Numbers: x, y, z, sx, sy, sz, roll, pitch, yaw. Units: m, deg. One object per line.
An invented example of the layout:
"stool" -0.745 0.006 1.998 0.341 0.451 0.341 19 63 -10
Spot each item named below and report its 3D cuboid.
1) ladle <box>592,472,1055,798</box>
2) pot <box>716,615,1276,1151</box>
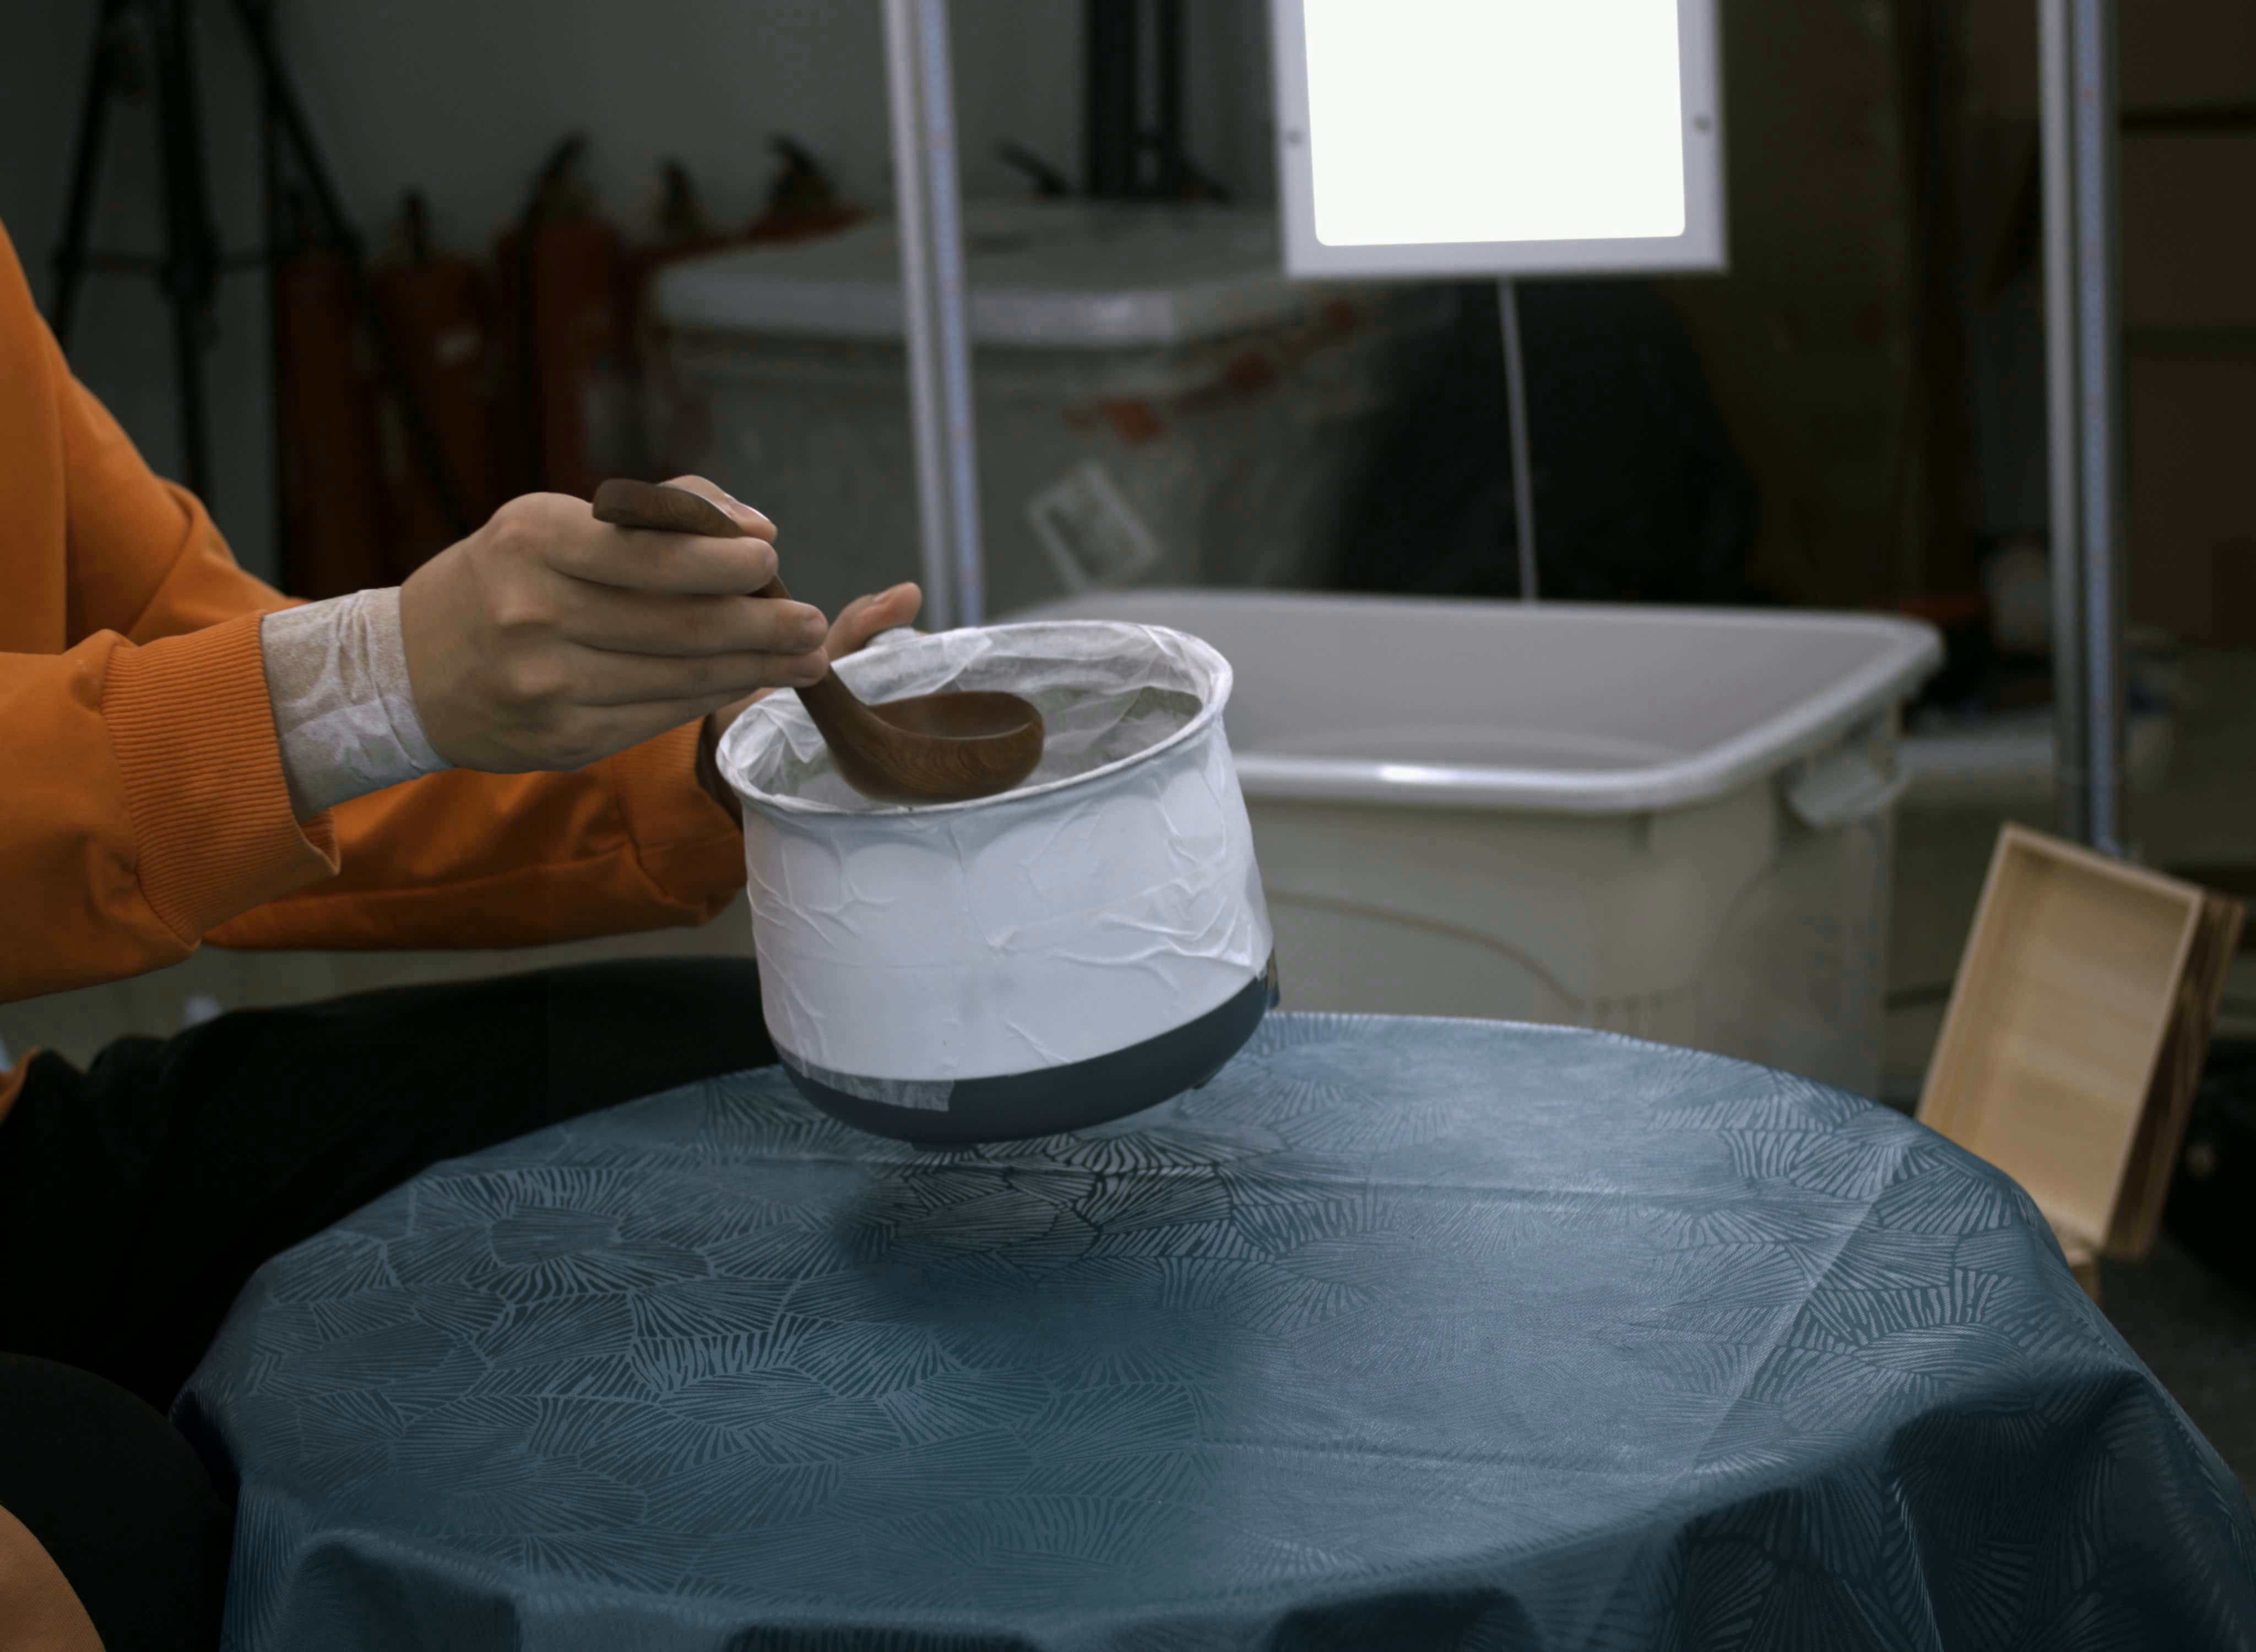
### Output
"ladle" -0.099 -0.068 1.742 0.078 0.065 0.257 -3 -27 25
"pot" -0.052 0.011 1.897 0.176 0.137 0.236 -15 21 -15
